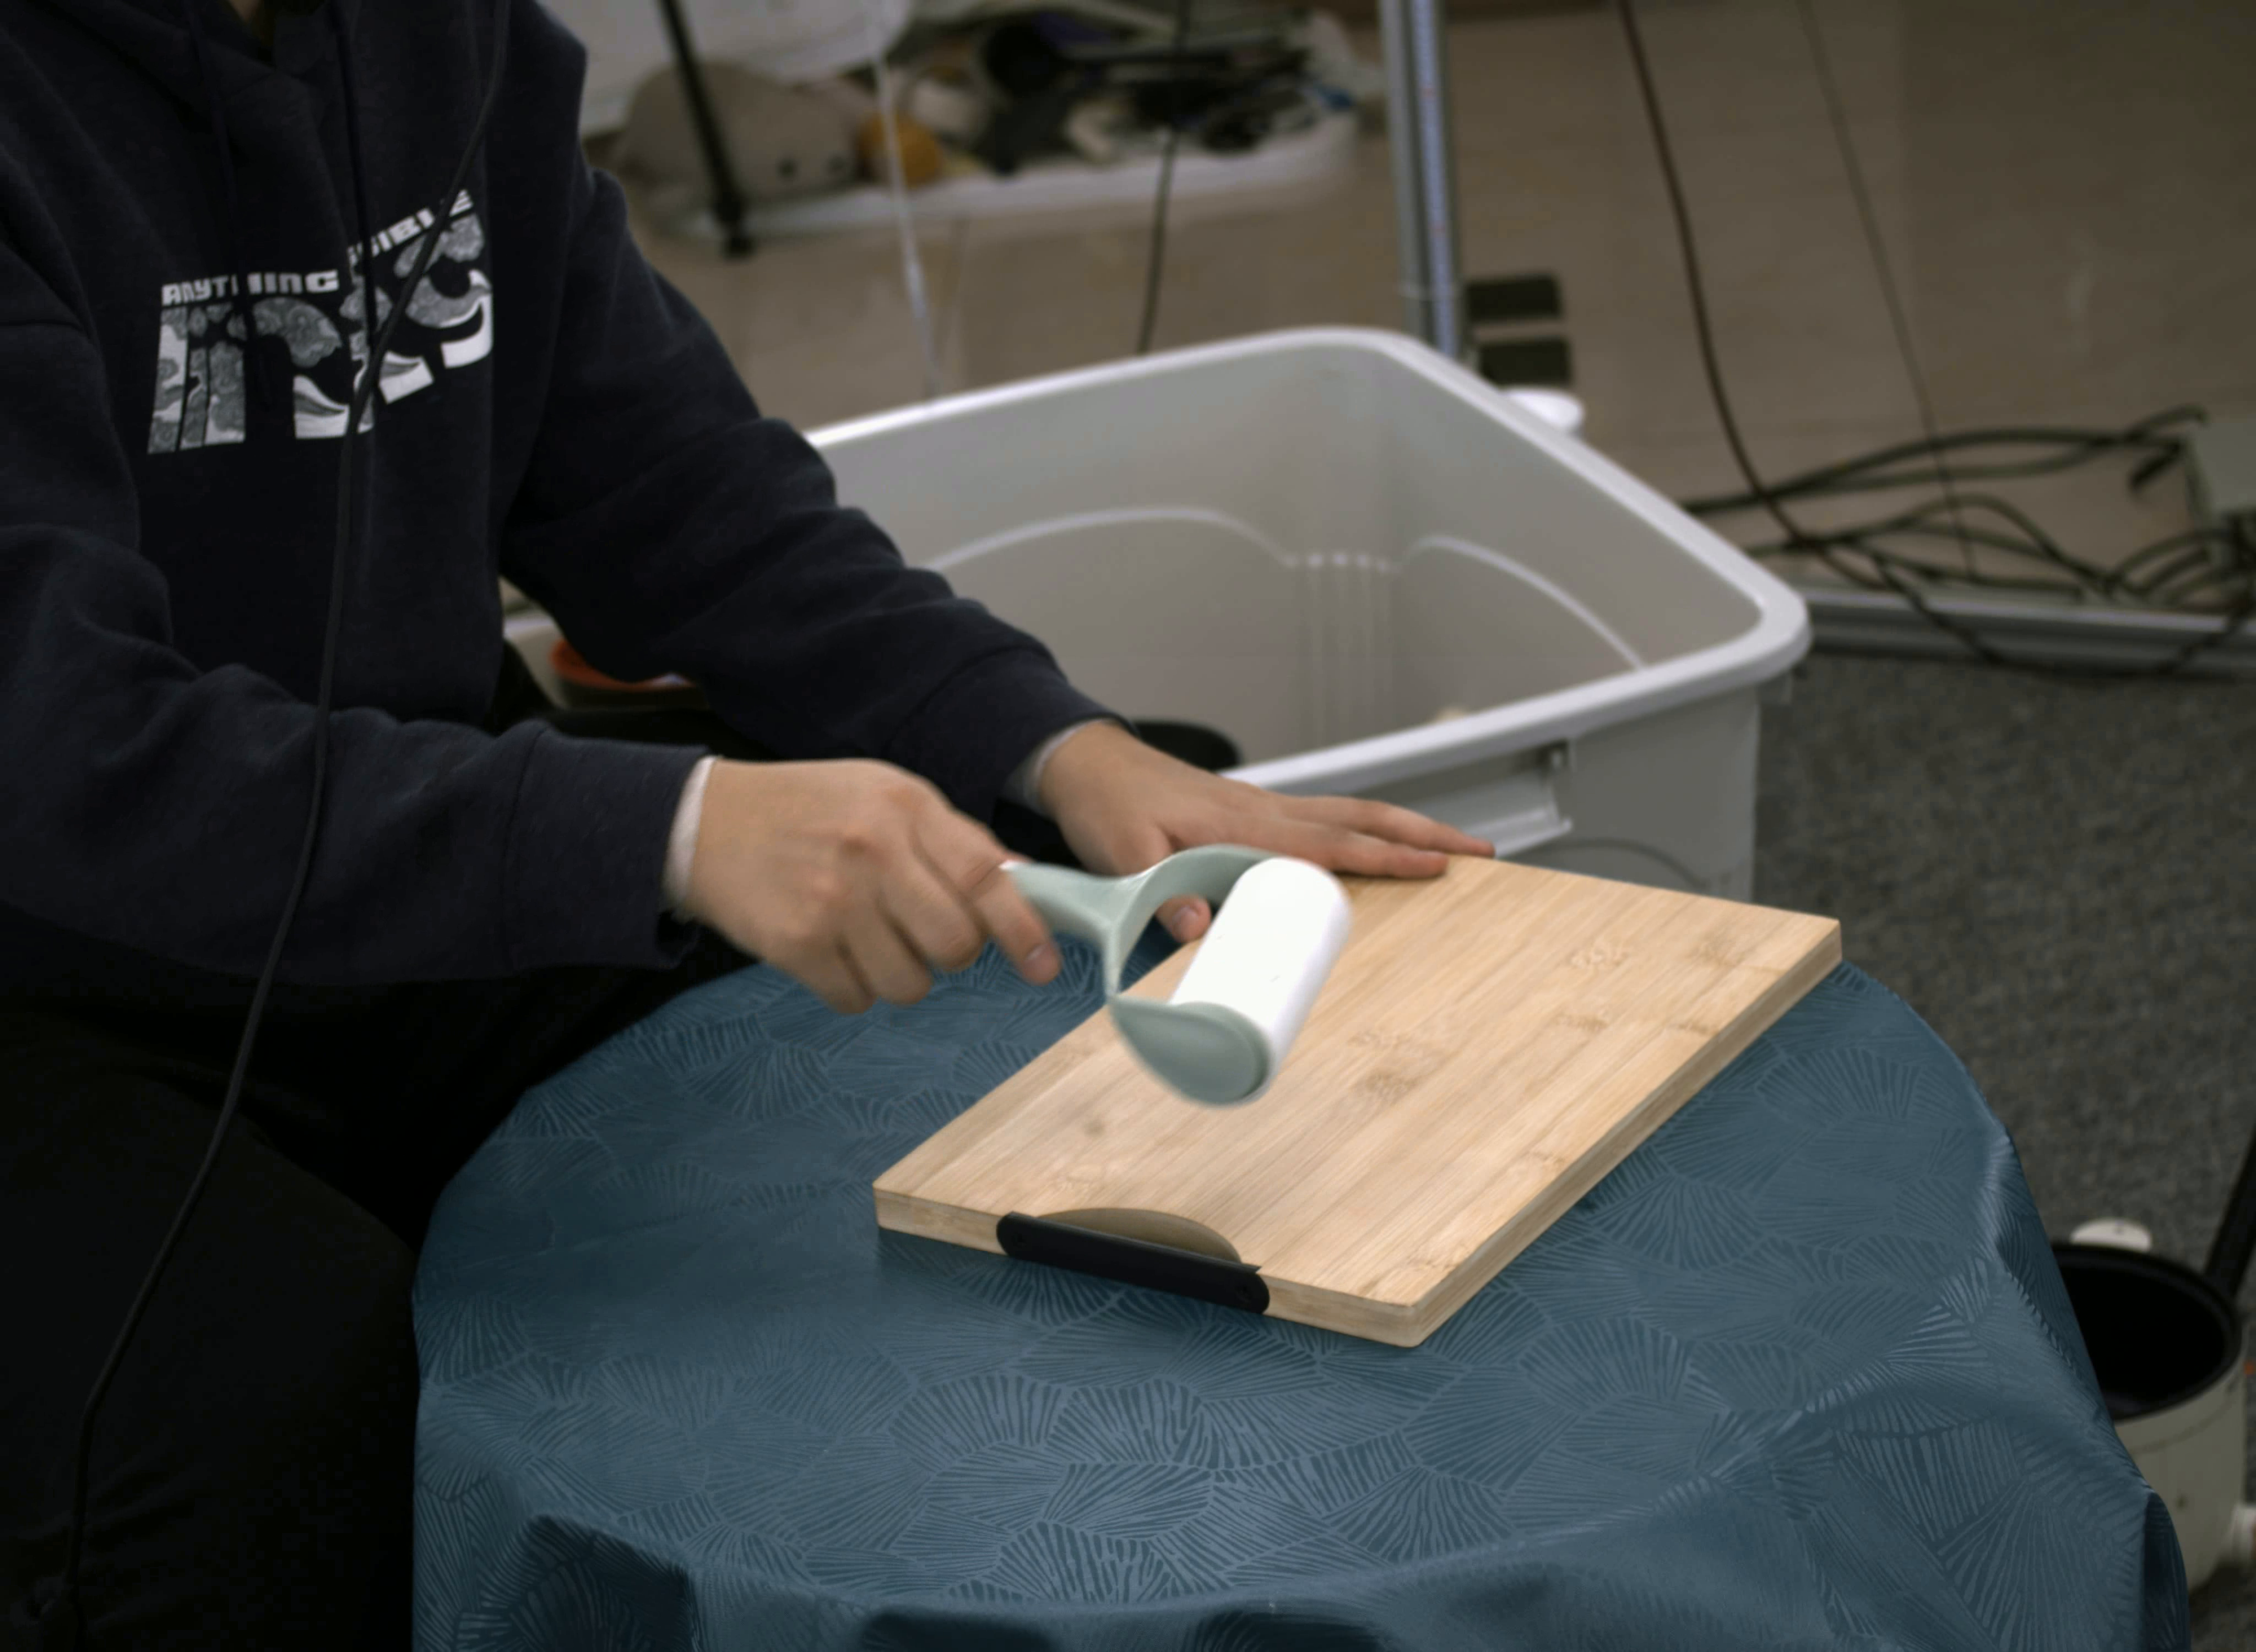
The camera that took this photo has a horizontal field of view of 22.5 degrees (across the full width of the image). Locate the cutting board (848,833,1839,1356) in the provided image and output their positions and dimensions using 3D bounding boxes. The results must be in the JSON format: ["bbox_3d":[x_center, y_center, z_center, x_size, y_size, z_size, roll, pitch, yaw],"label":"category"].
[{"bbox_3d":[0.090,0.097,2.199,0.249,0.024,0.345,9,29,32],"label":"cutting board"}]

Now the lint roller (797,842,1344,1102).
[{"bbox_3d":[-0.026,0.040,2.071,0.197,0.049,0.115,12,35,14],"label":"lint roller"}]
